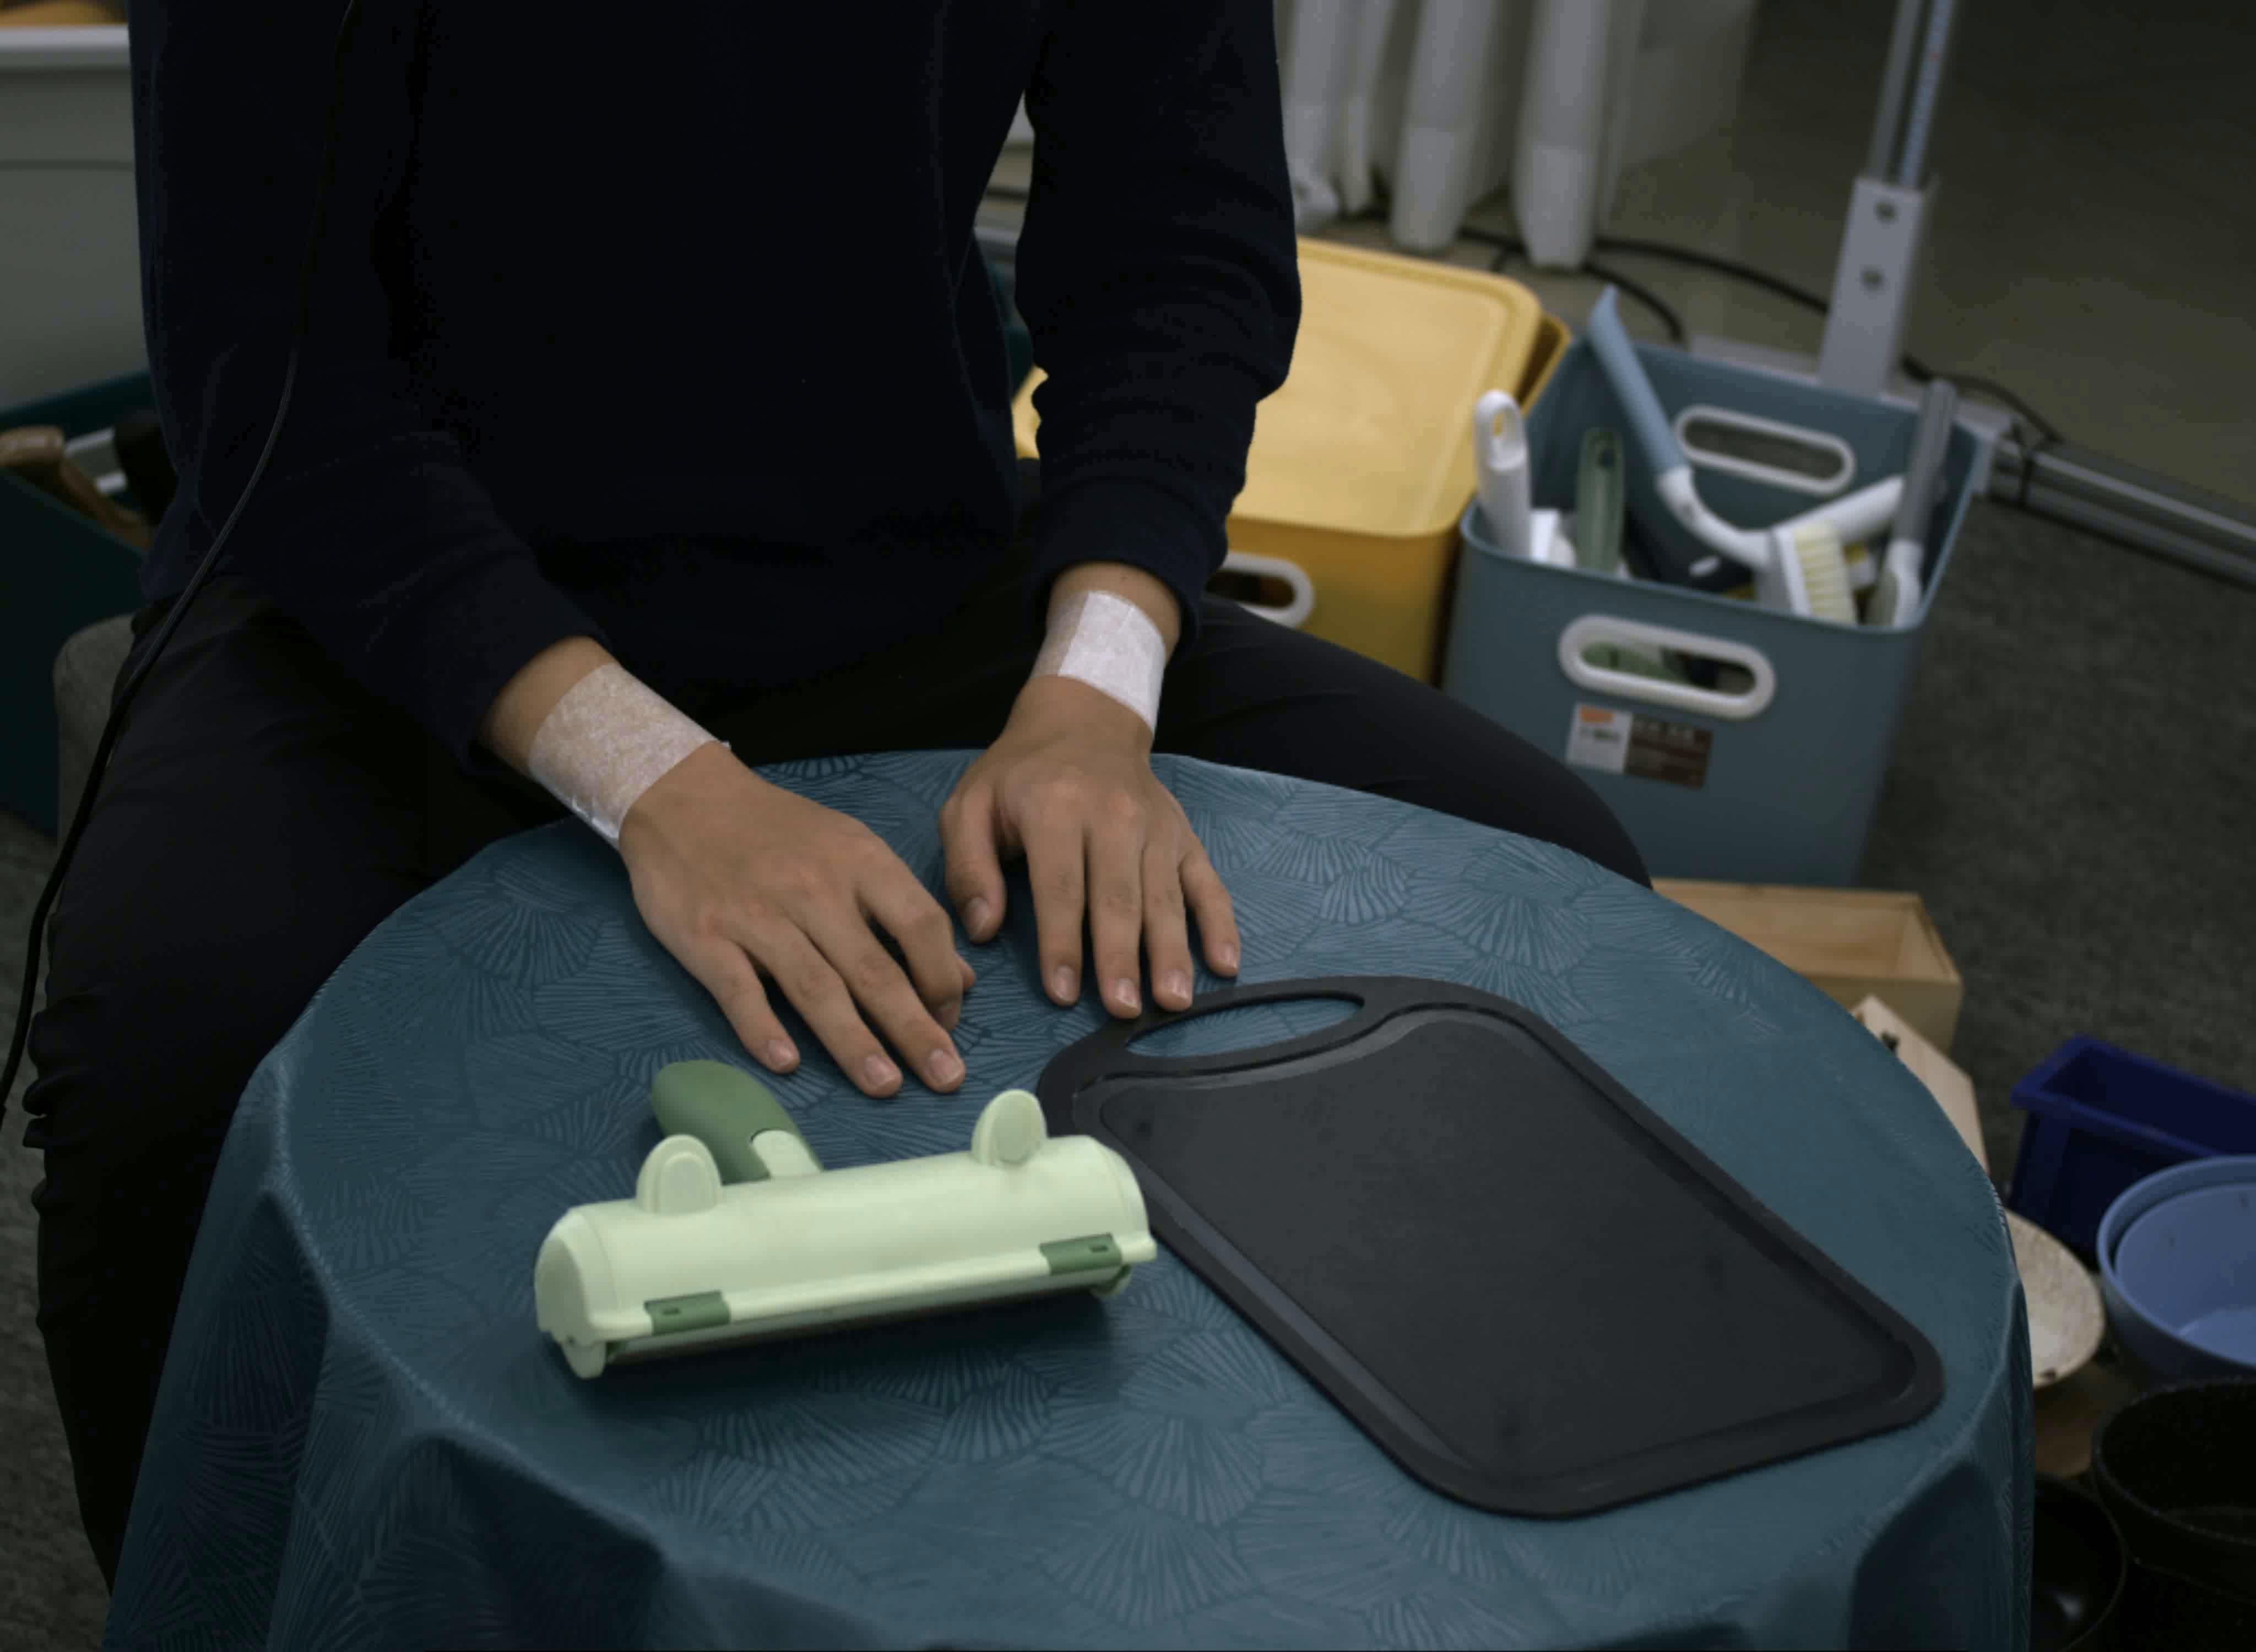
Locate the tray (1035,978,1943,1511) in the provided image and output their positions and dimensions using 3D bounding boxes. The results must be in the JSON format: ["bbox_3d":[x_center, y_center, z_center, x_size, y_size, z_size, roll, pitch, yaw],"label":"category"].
[{"bbox_3d":[0.113,0.132,1.805,0.210,0.010,0.328,-10,31,-30],"label":"tray"}]

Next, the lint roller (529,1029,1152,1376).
[{"bbox_3d":[-0.113,0.099,1.731,0.197,0.082,0.185,-6,36,-26],"label":"lint roller"}]
